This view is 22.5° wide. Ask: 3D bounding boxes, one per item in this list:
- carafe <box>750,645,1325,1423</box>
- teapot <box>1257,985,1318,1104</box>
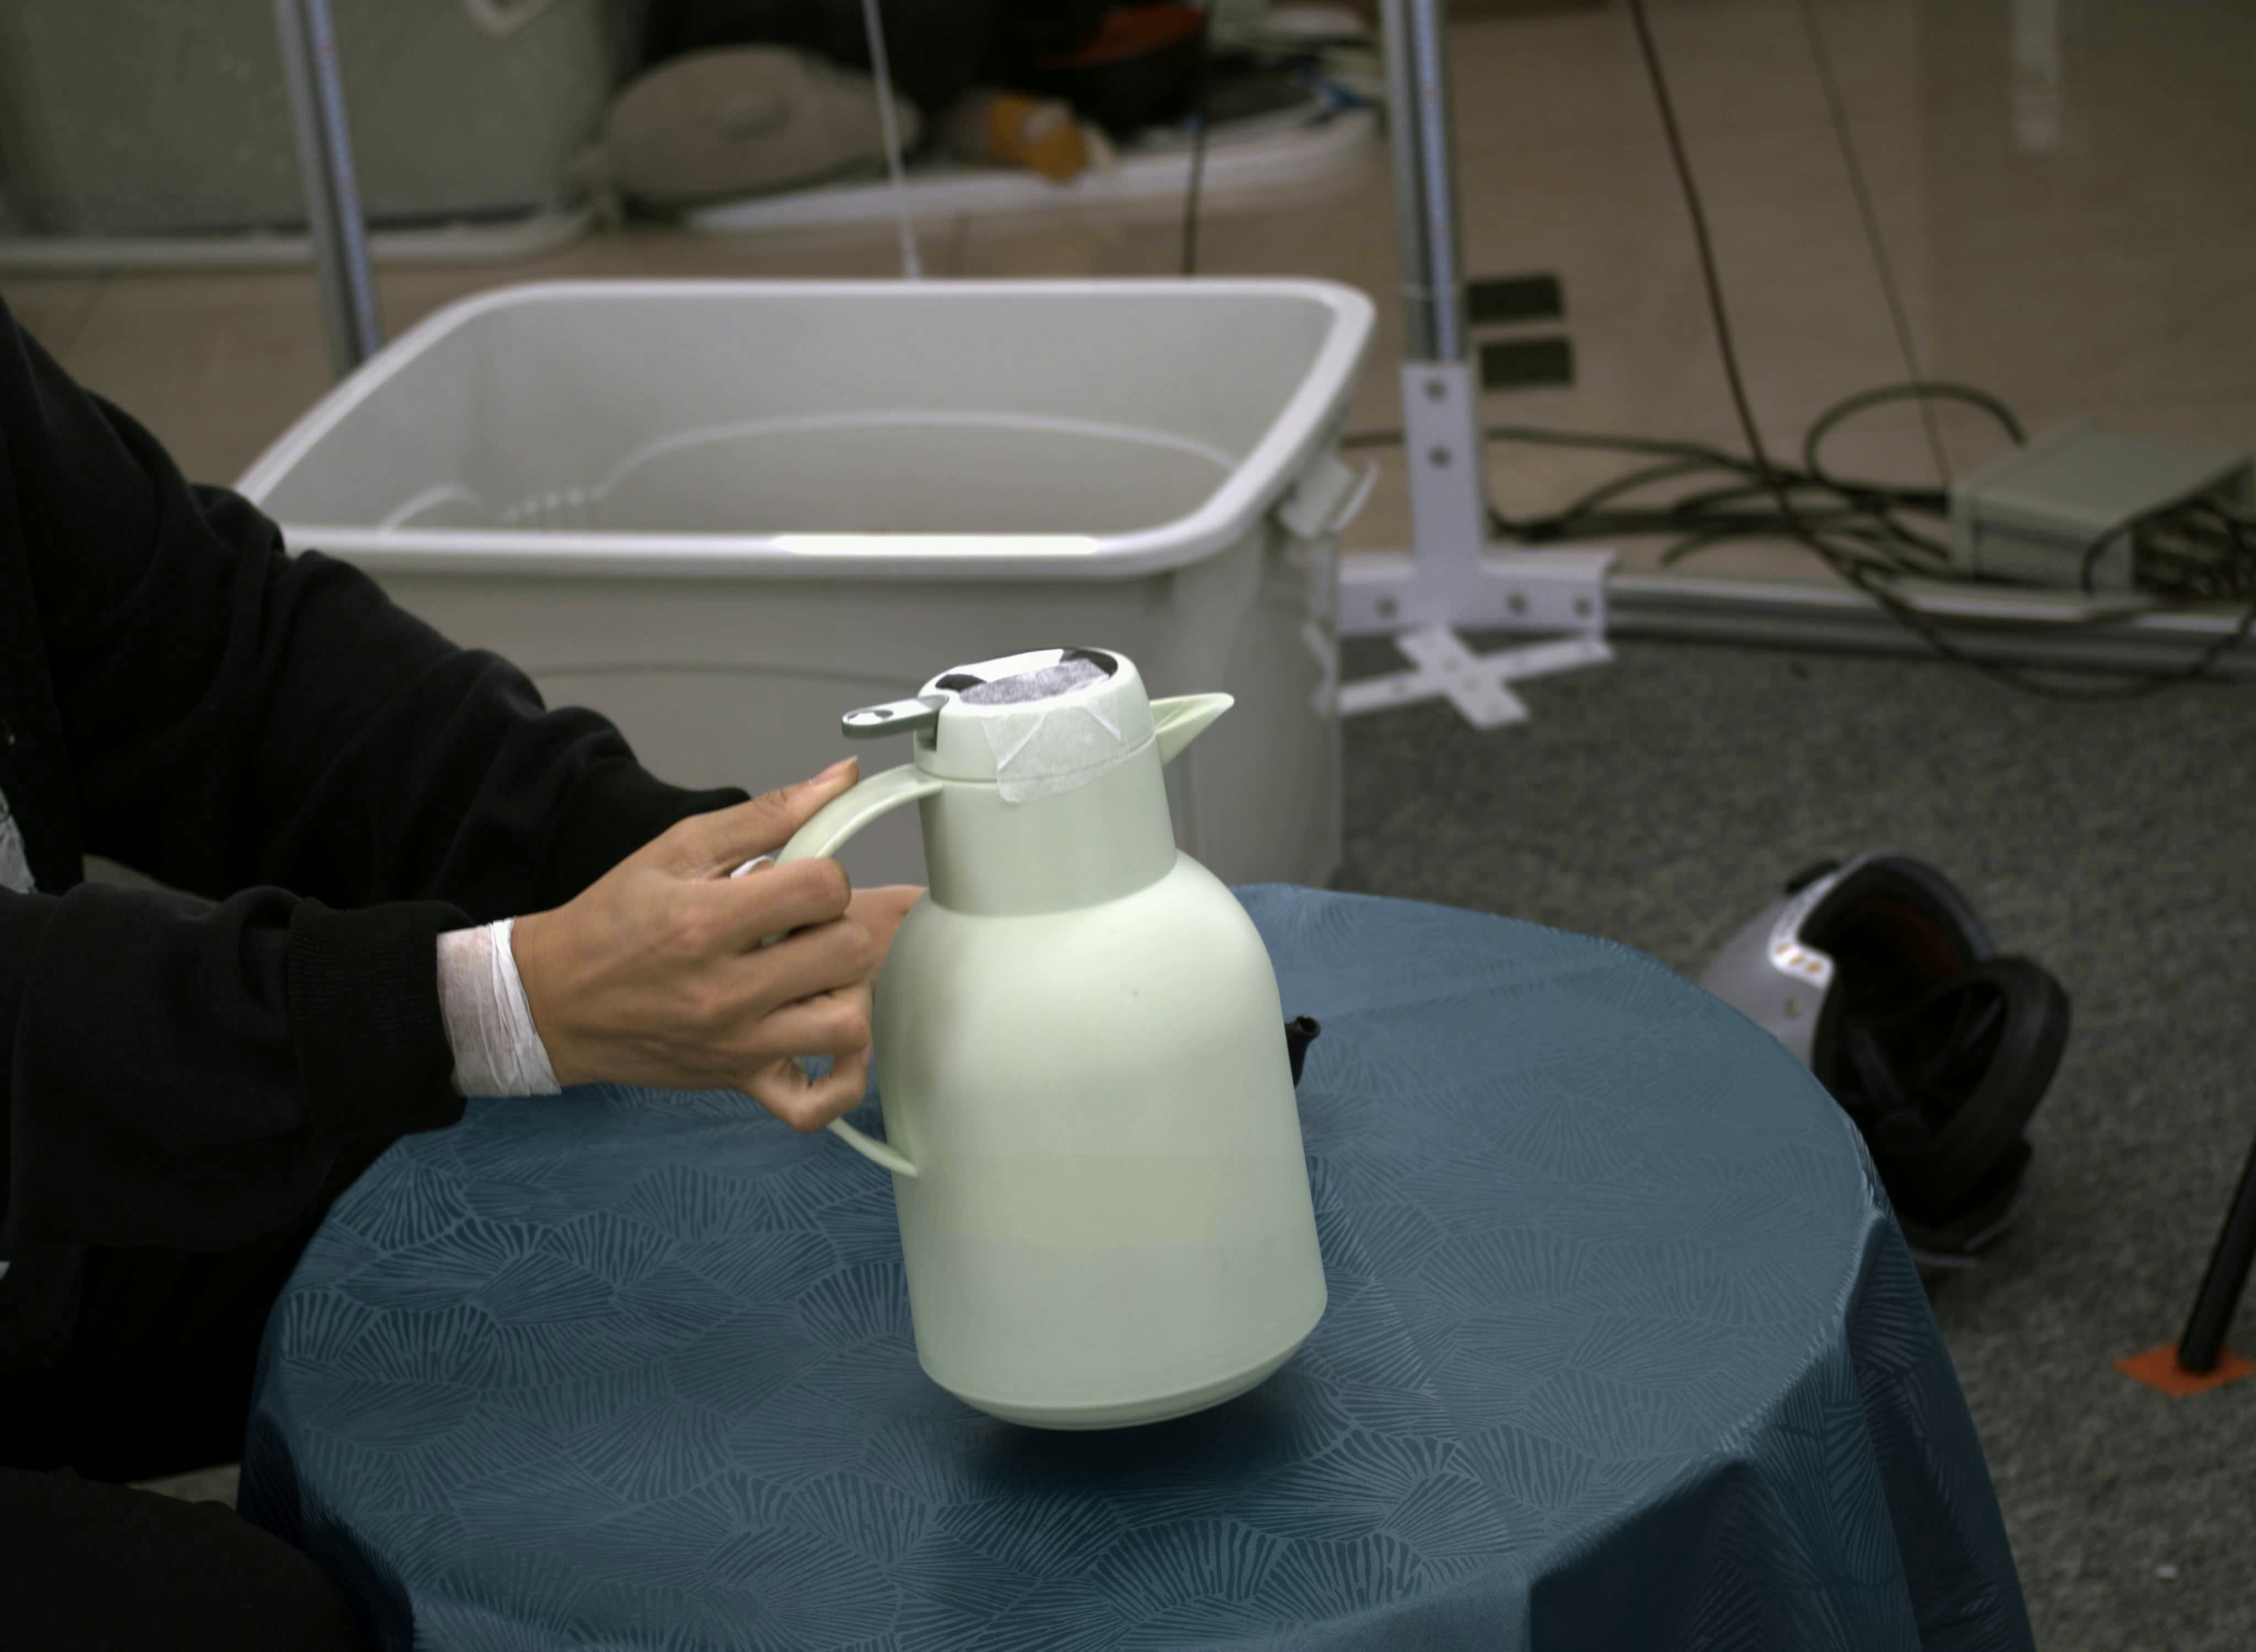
[{"bbox_3d":[-0.031,0.071,1.947,0.186,0.260,0.143,-19,22,-19],"label":"carafe"},{"bbox_3d":[0.018,0.086,2.181,0.132,0.054,0.090,13,29,32],"label":"teapot"}]
